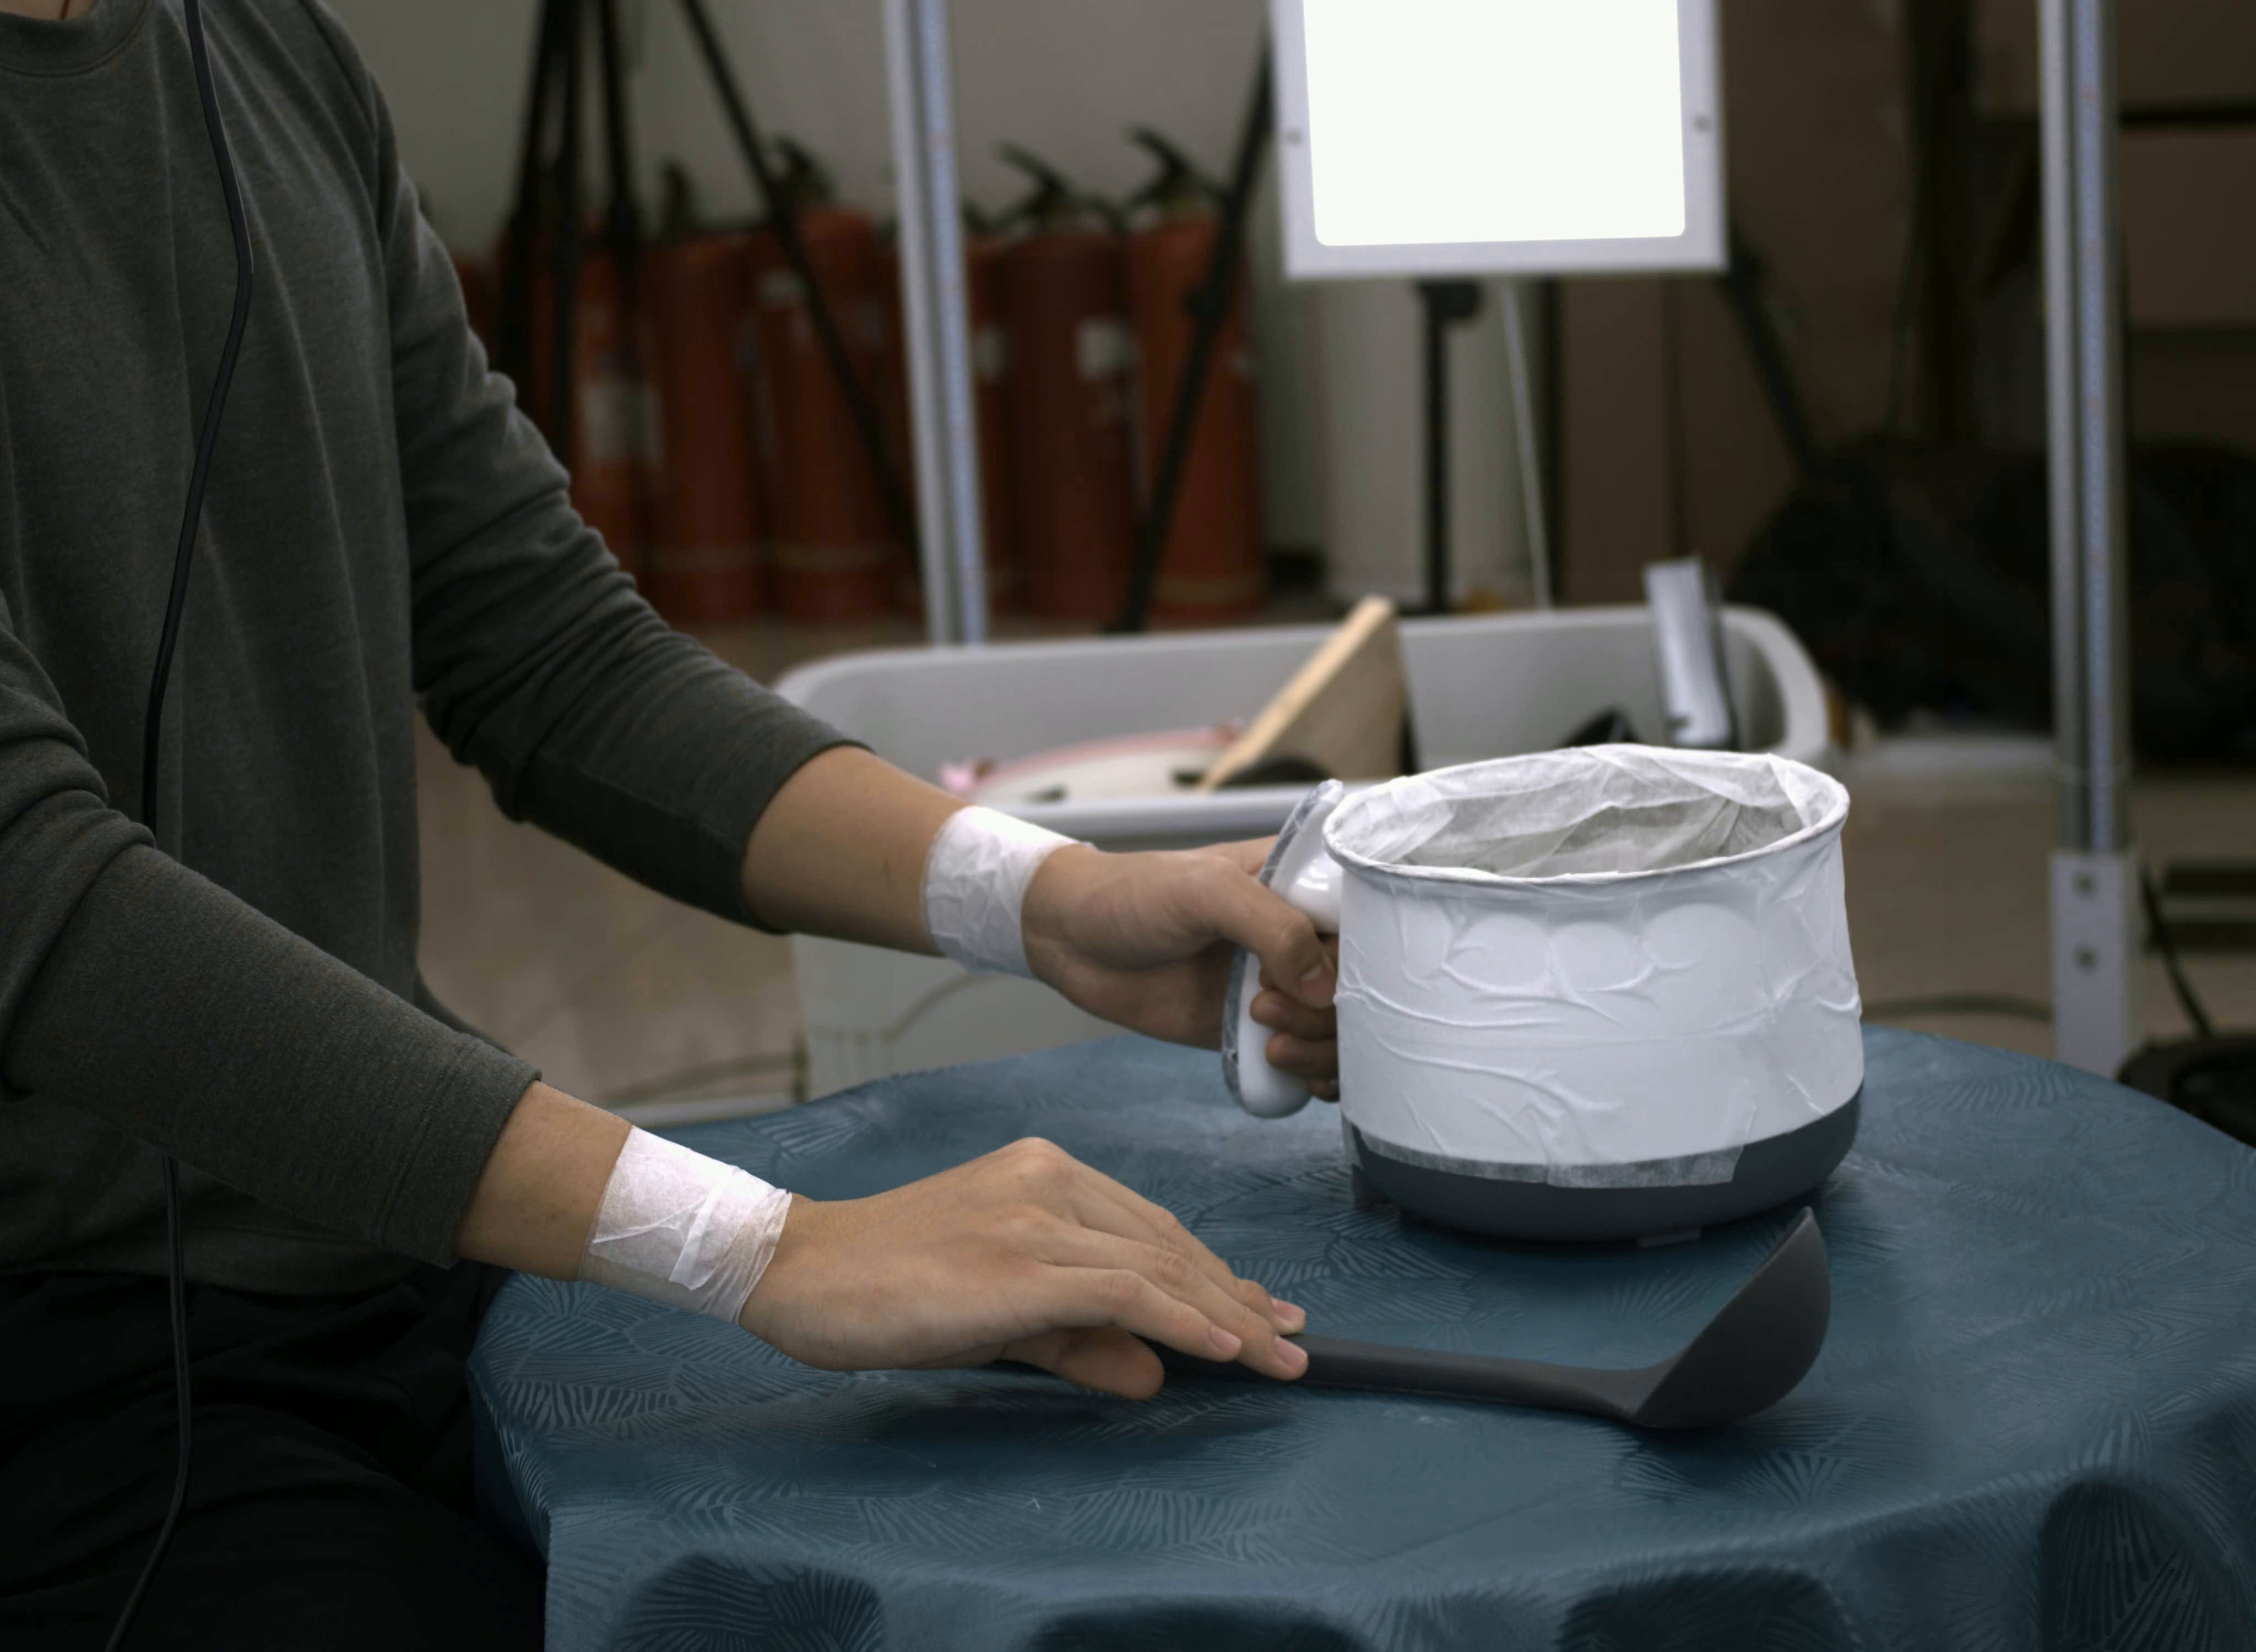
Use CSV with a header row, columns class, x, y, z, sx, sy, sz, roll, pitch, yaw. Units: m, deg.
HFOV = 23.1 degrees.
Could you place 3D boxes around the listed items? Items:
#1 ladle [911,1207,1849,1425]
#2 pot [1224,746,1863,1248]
class,x,y,z,sx,sy,sz,roll,pitch,yaw
ladle,0.070,0.142,1.680,0.320,0.064,0.084,2,13,29
pot,0.134,0.054,1.860,0.238,0.137,0.174,4,16,33
